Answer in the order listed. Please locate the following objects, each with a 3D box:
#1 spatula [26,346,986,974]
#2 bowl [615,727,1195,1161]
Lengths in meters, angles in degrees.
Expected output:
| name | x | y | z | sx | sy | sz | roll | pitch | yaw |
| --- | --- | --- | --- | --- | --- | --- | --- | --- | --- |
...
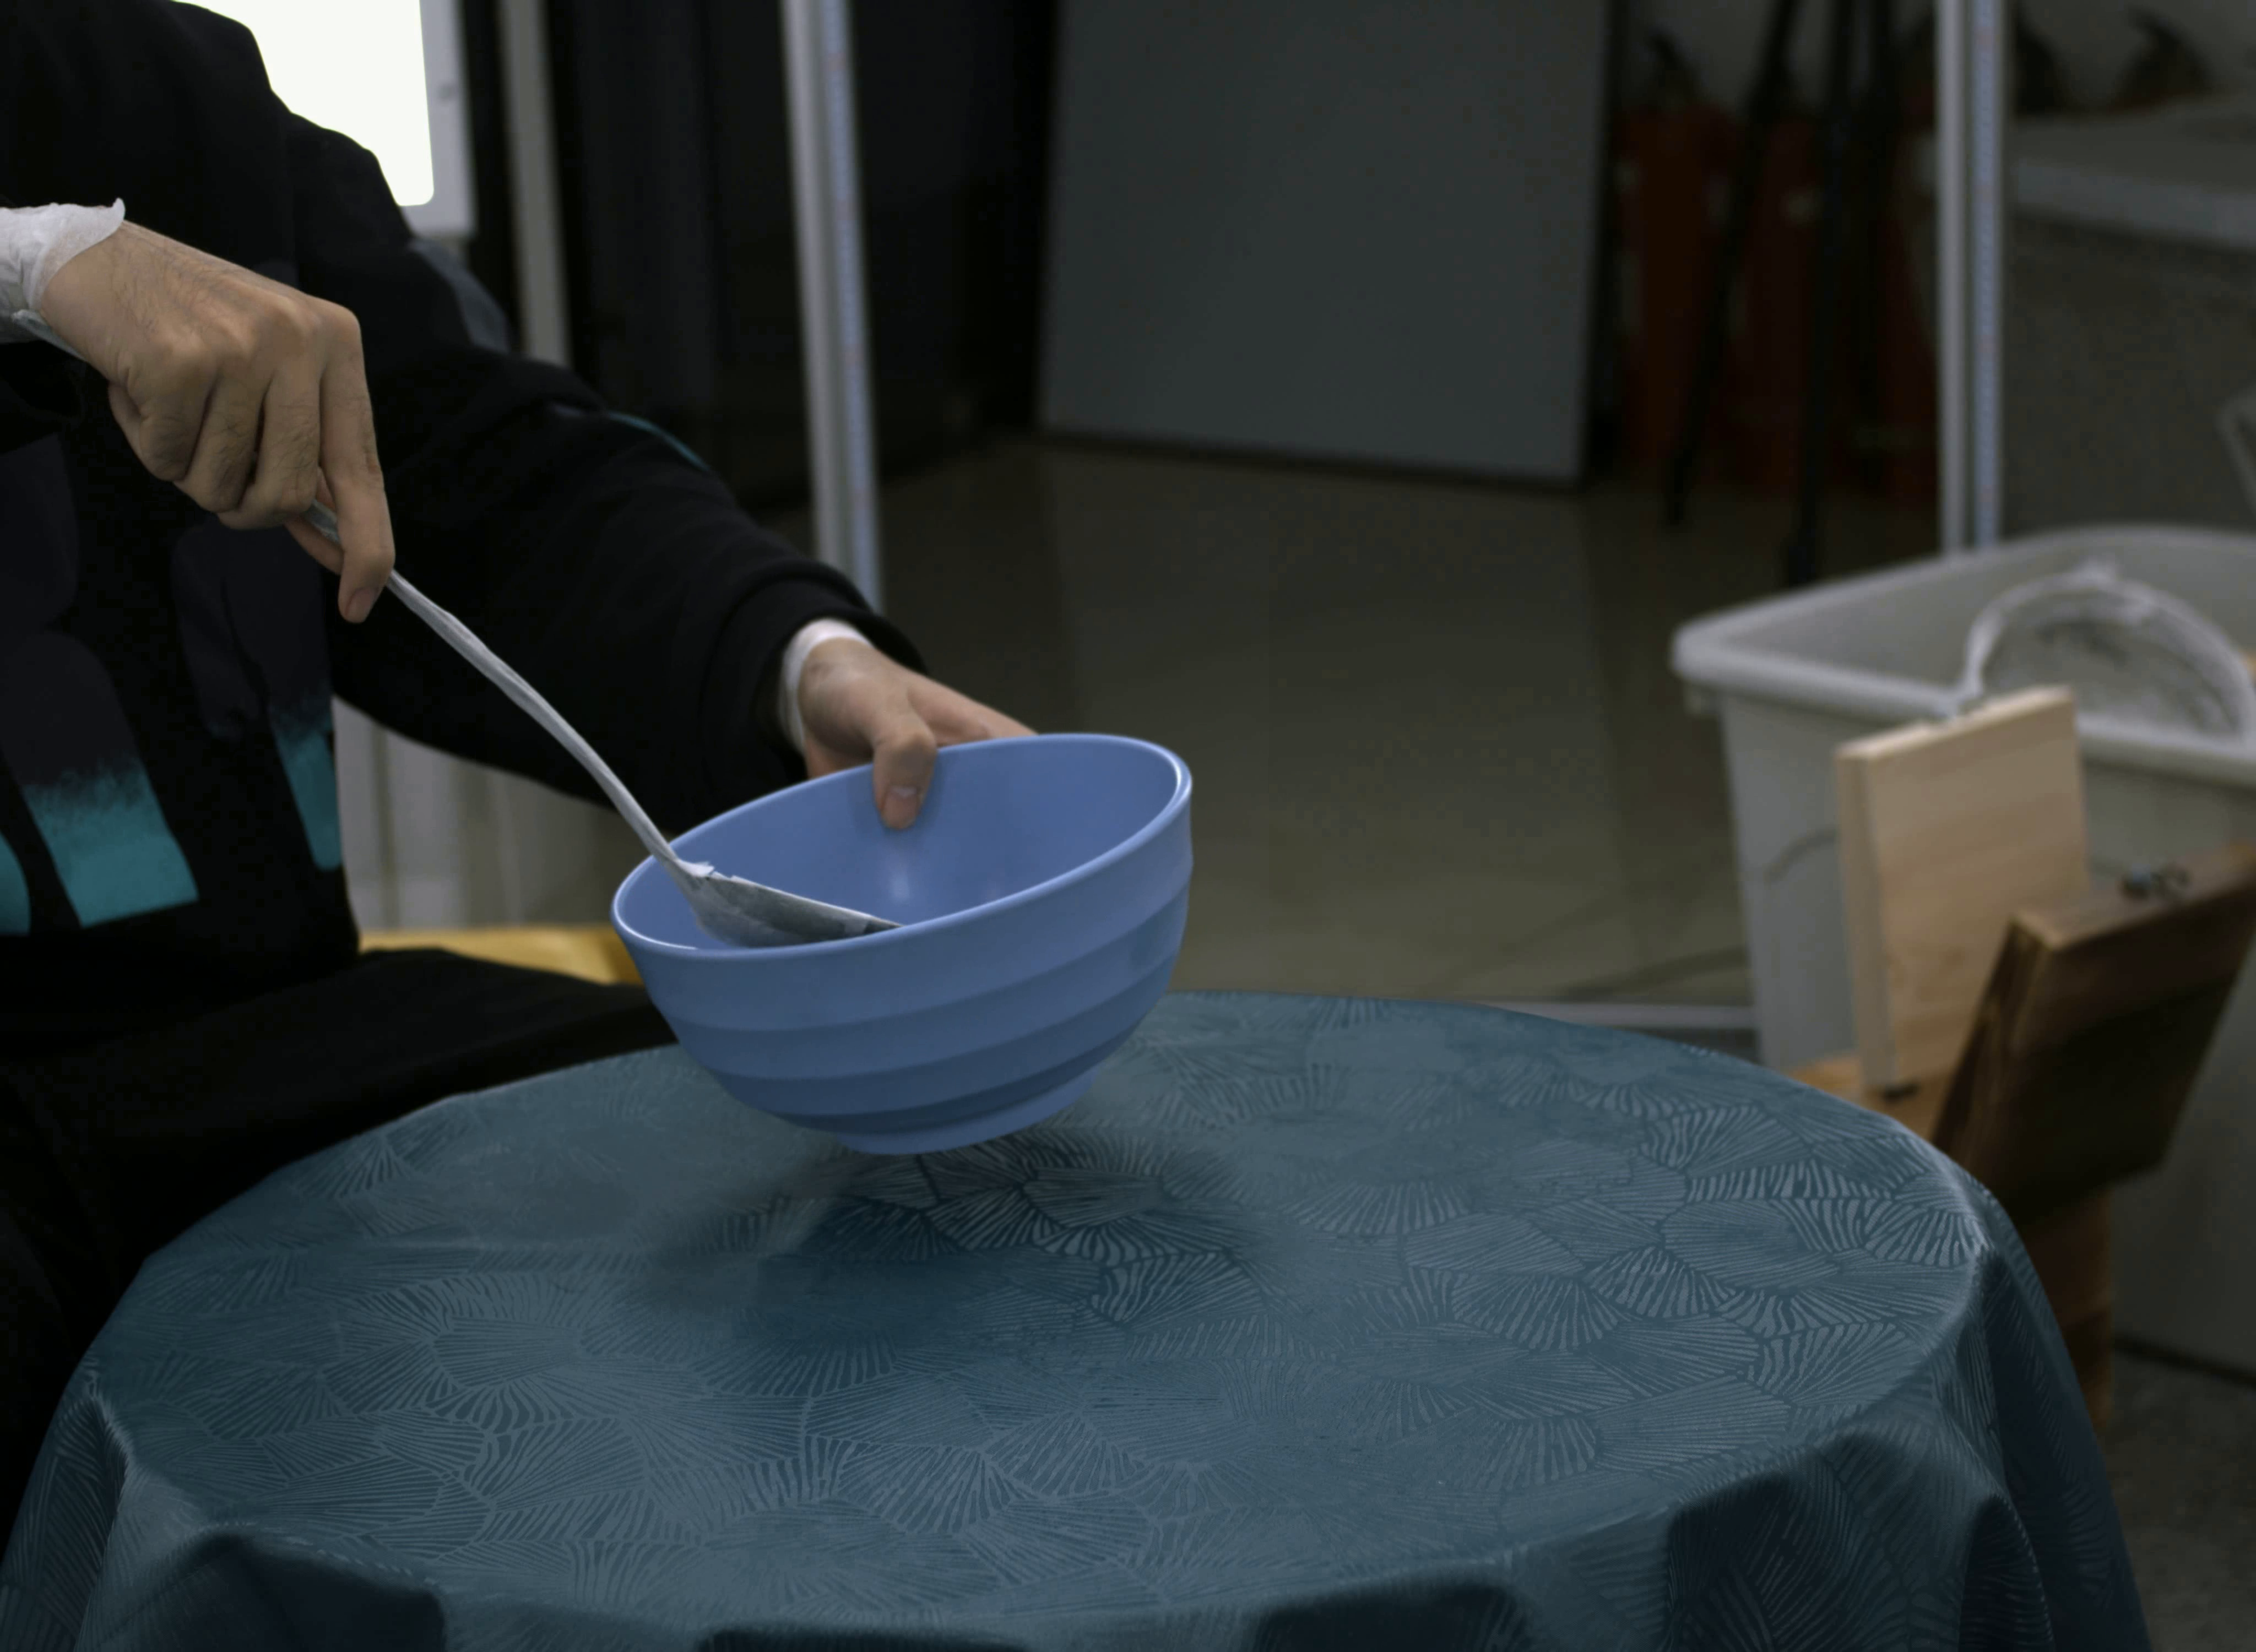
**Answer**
| name | x | y | z | sx | sy | sz | roll | pitch | yaw |
| --- | --- | --- | --- | --- | --- | --- | --- | --- | --- |
| spatula | -0.195 | -0.050 | 1.711 | 0.044 | 0.364 | 0.099 | -49 | 0 | -14 |
| bowl | -0.062 | 0.047 | 1.768 | 0.194 | 0.096 | 0.197 | -15 | 17 | 3 |
